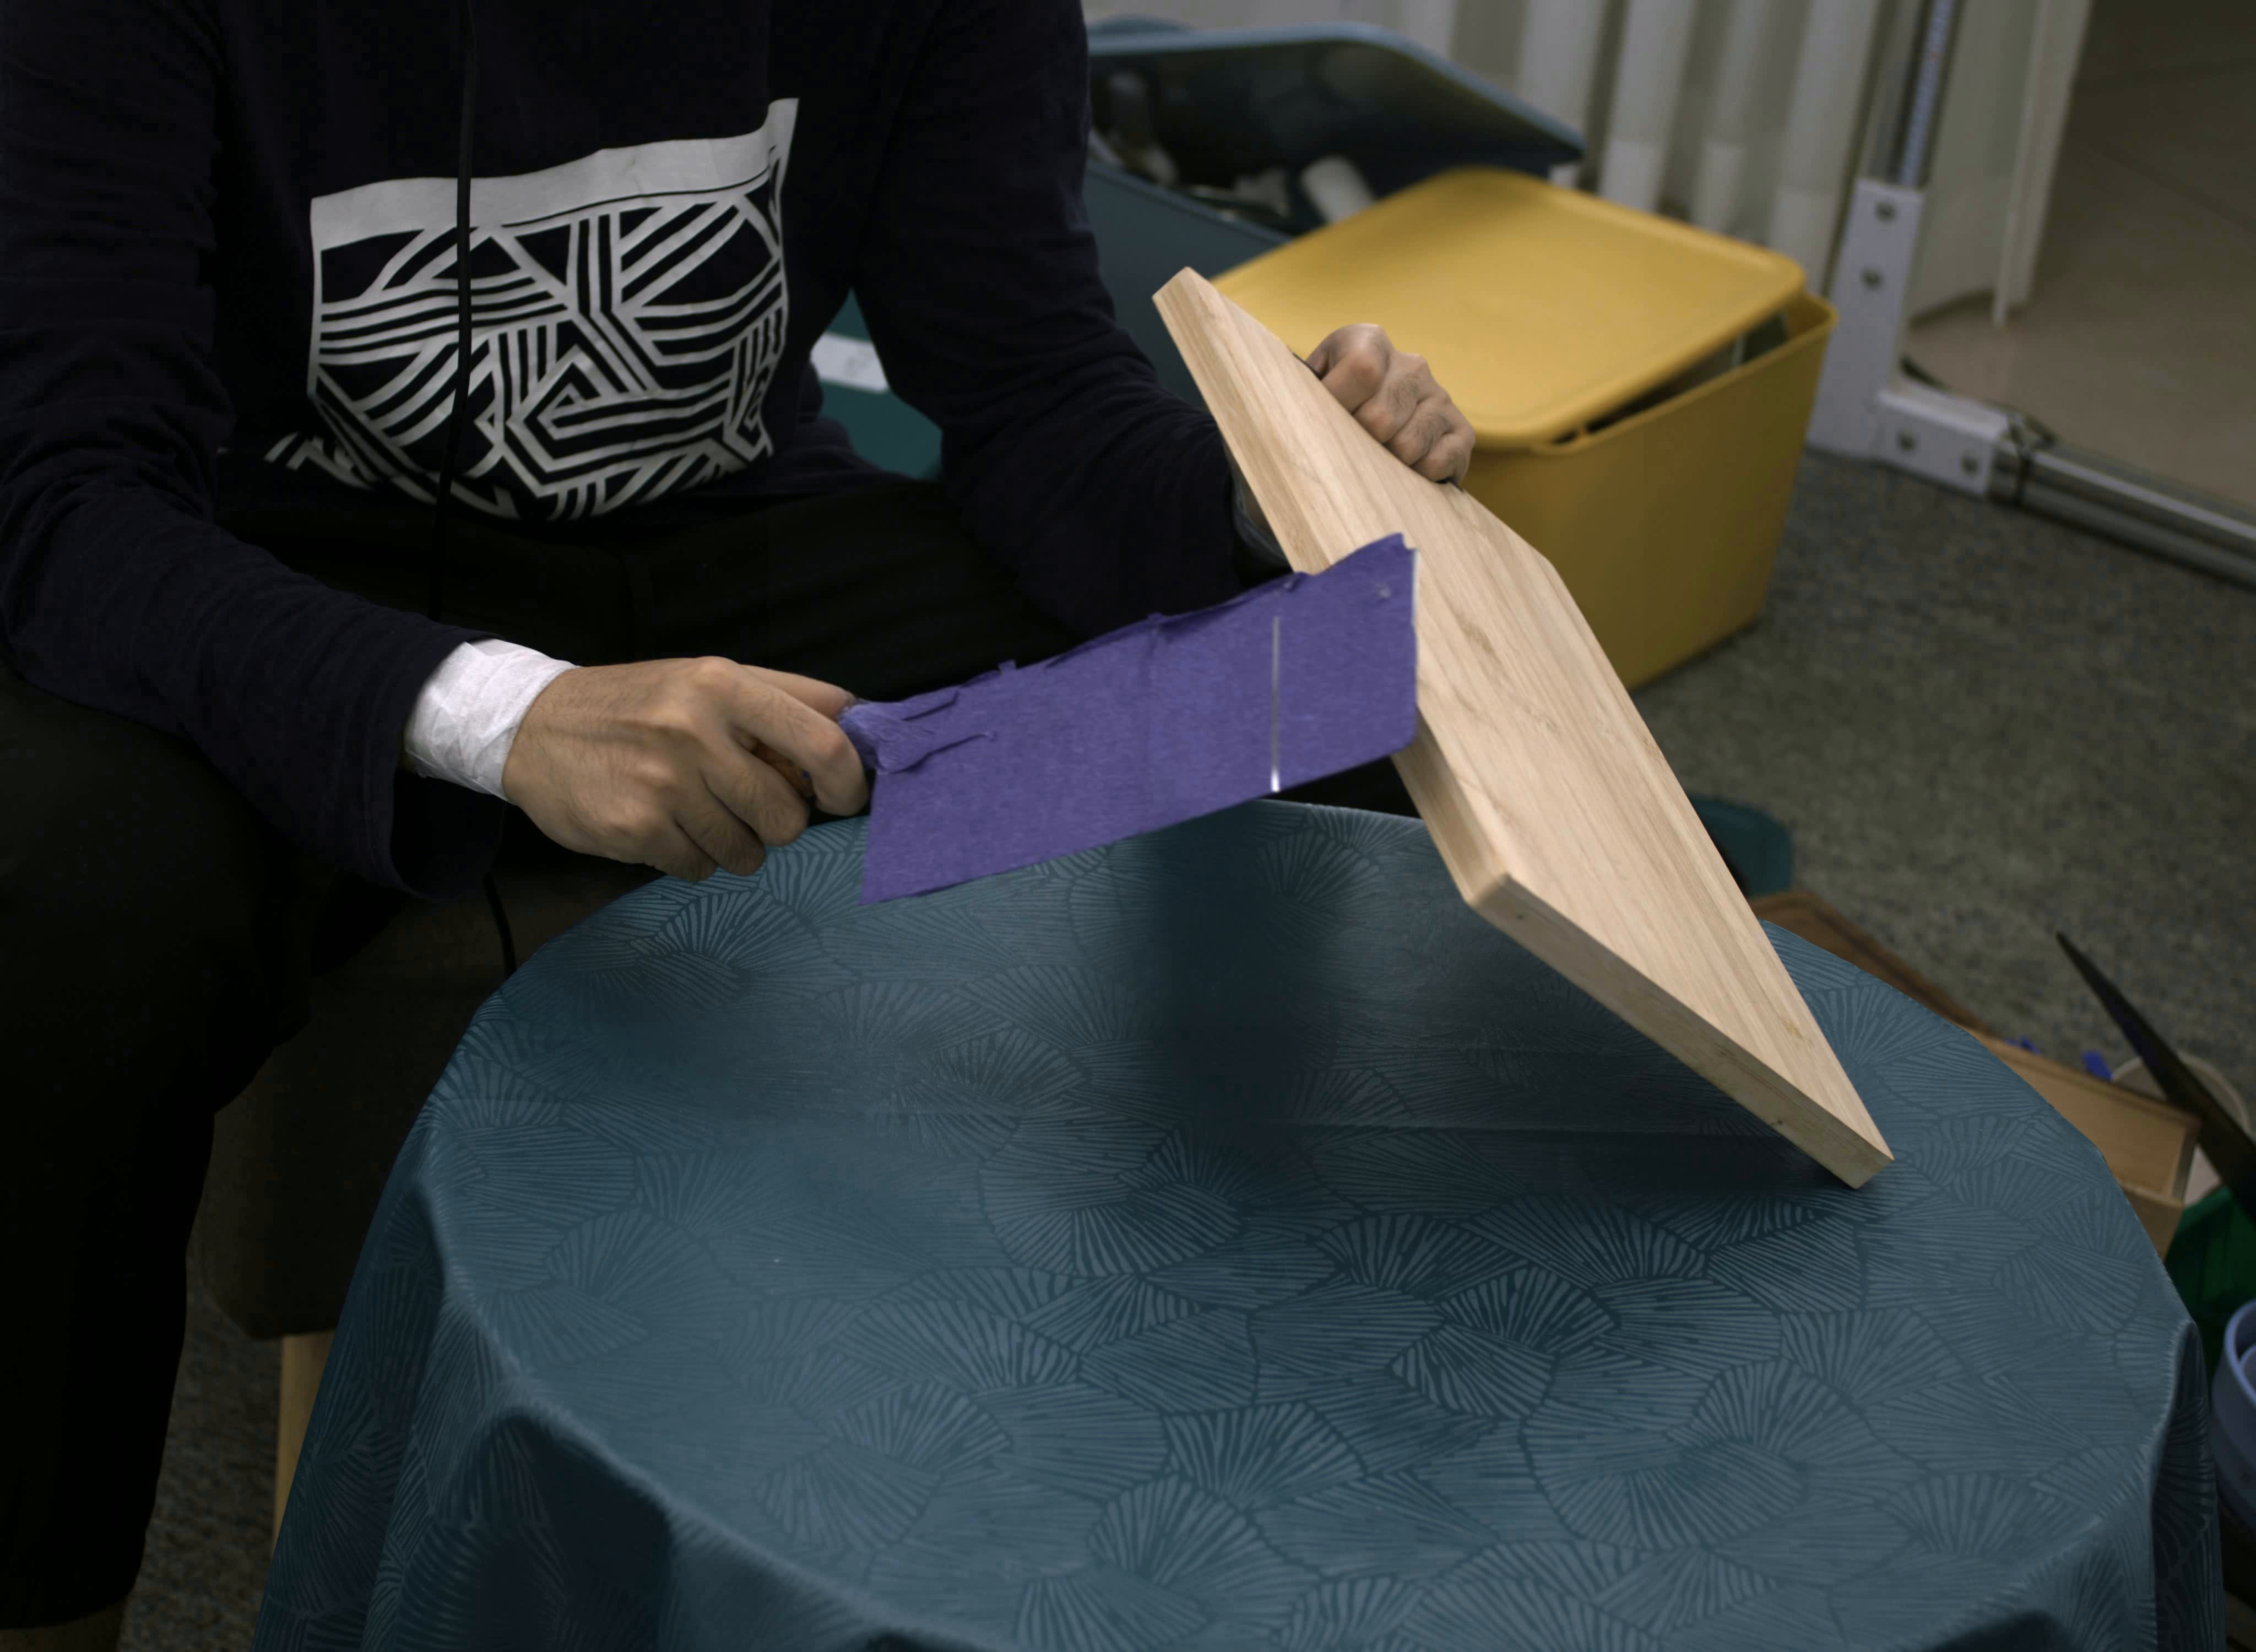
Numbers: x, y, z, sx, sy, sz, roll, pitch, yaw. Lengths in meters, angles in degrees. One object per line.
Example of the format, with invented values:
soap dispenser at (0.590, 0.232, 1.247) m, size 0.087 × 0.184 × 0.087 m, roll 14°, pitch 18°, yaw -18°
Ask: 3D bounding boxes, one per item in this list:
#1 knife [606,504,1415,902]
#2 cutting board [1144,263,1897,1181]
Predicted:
knife at (-0.045, -0.024, 1.788) m, size 0.315 × 0.032 × 0.104 m, roll -19°, pitch 43°, yaw 26°
cutting board at (0.136, -0.041, 1.903) m, size 0.248 × 0.023 × 0.352 m, roll 35°, pitch 21°, yaw -41°
